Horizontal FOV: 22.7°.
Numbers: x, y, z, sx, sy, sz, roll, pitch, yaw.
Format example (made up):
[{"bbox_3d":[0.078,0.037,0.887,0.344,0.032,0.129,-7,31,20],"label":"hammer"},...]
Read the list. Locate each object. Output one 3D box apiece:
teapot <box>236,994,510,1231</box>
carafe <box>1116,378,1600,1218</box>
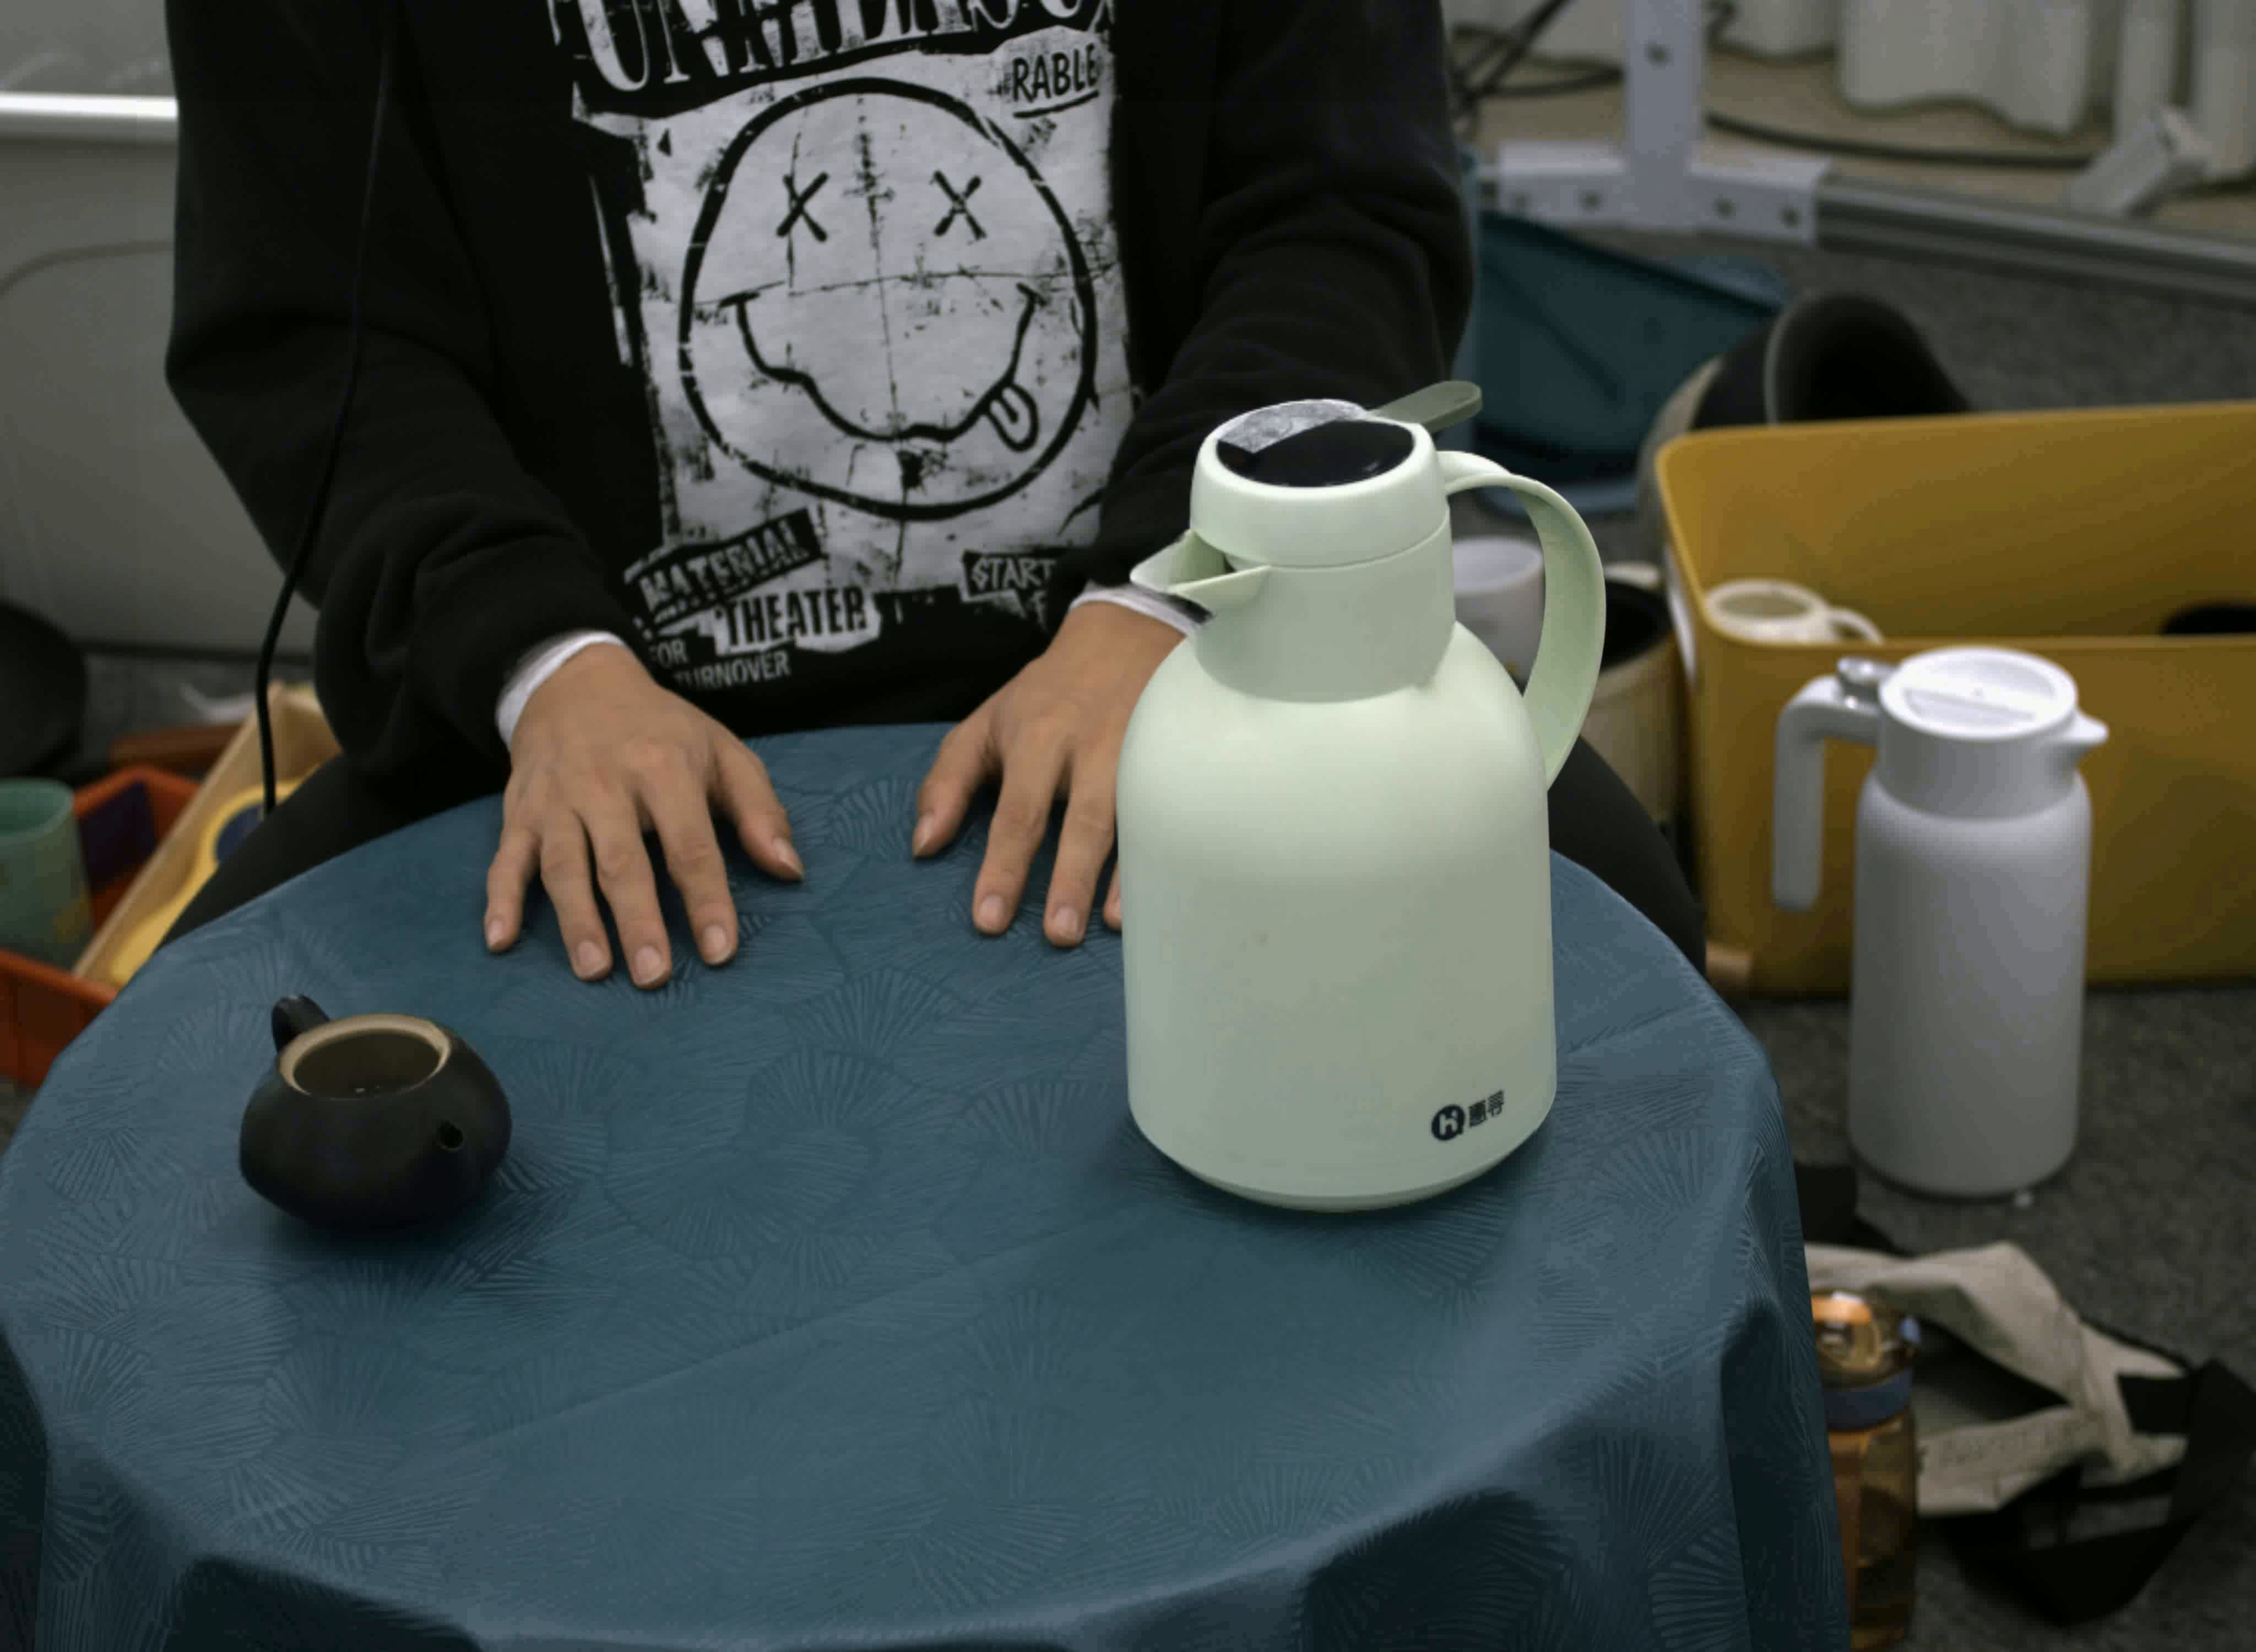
[{"bbox_3d":[-0.252,0.100,1.869,0.091,0.052,0.133,-17,30,-30],"label":"teapot"},{"bbox_3d":[0.077,-0.015,1.847,0.188,0.254,0.144,-19,28,-35],"label":"carafe"}]
